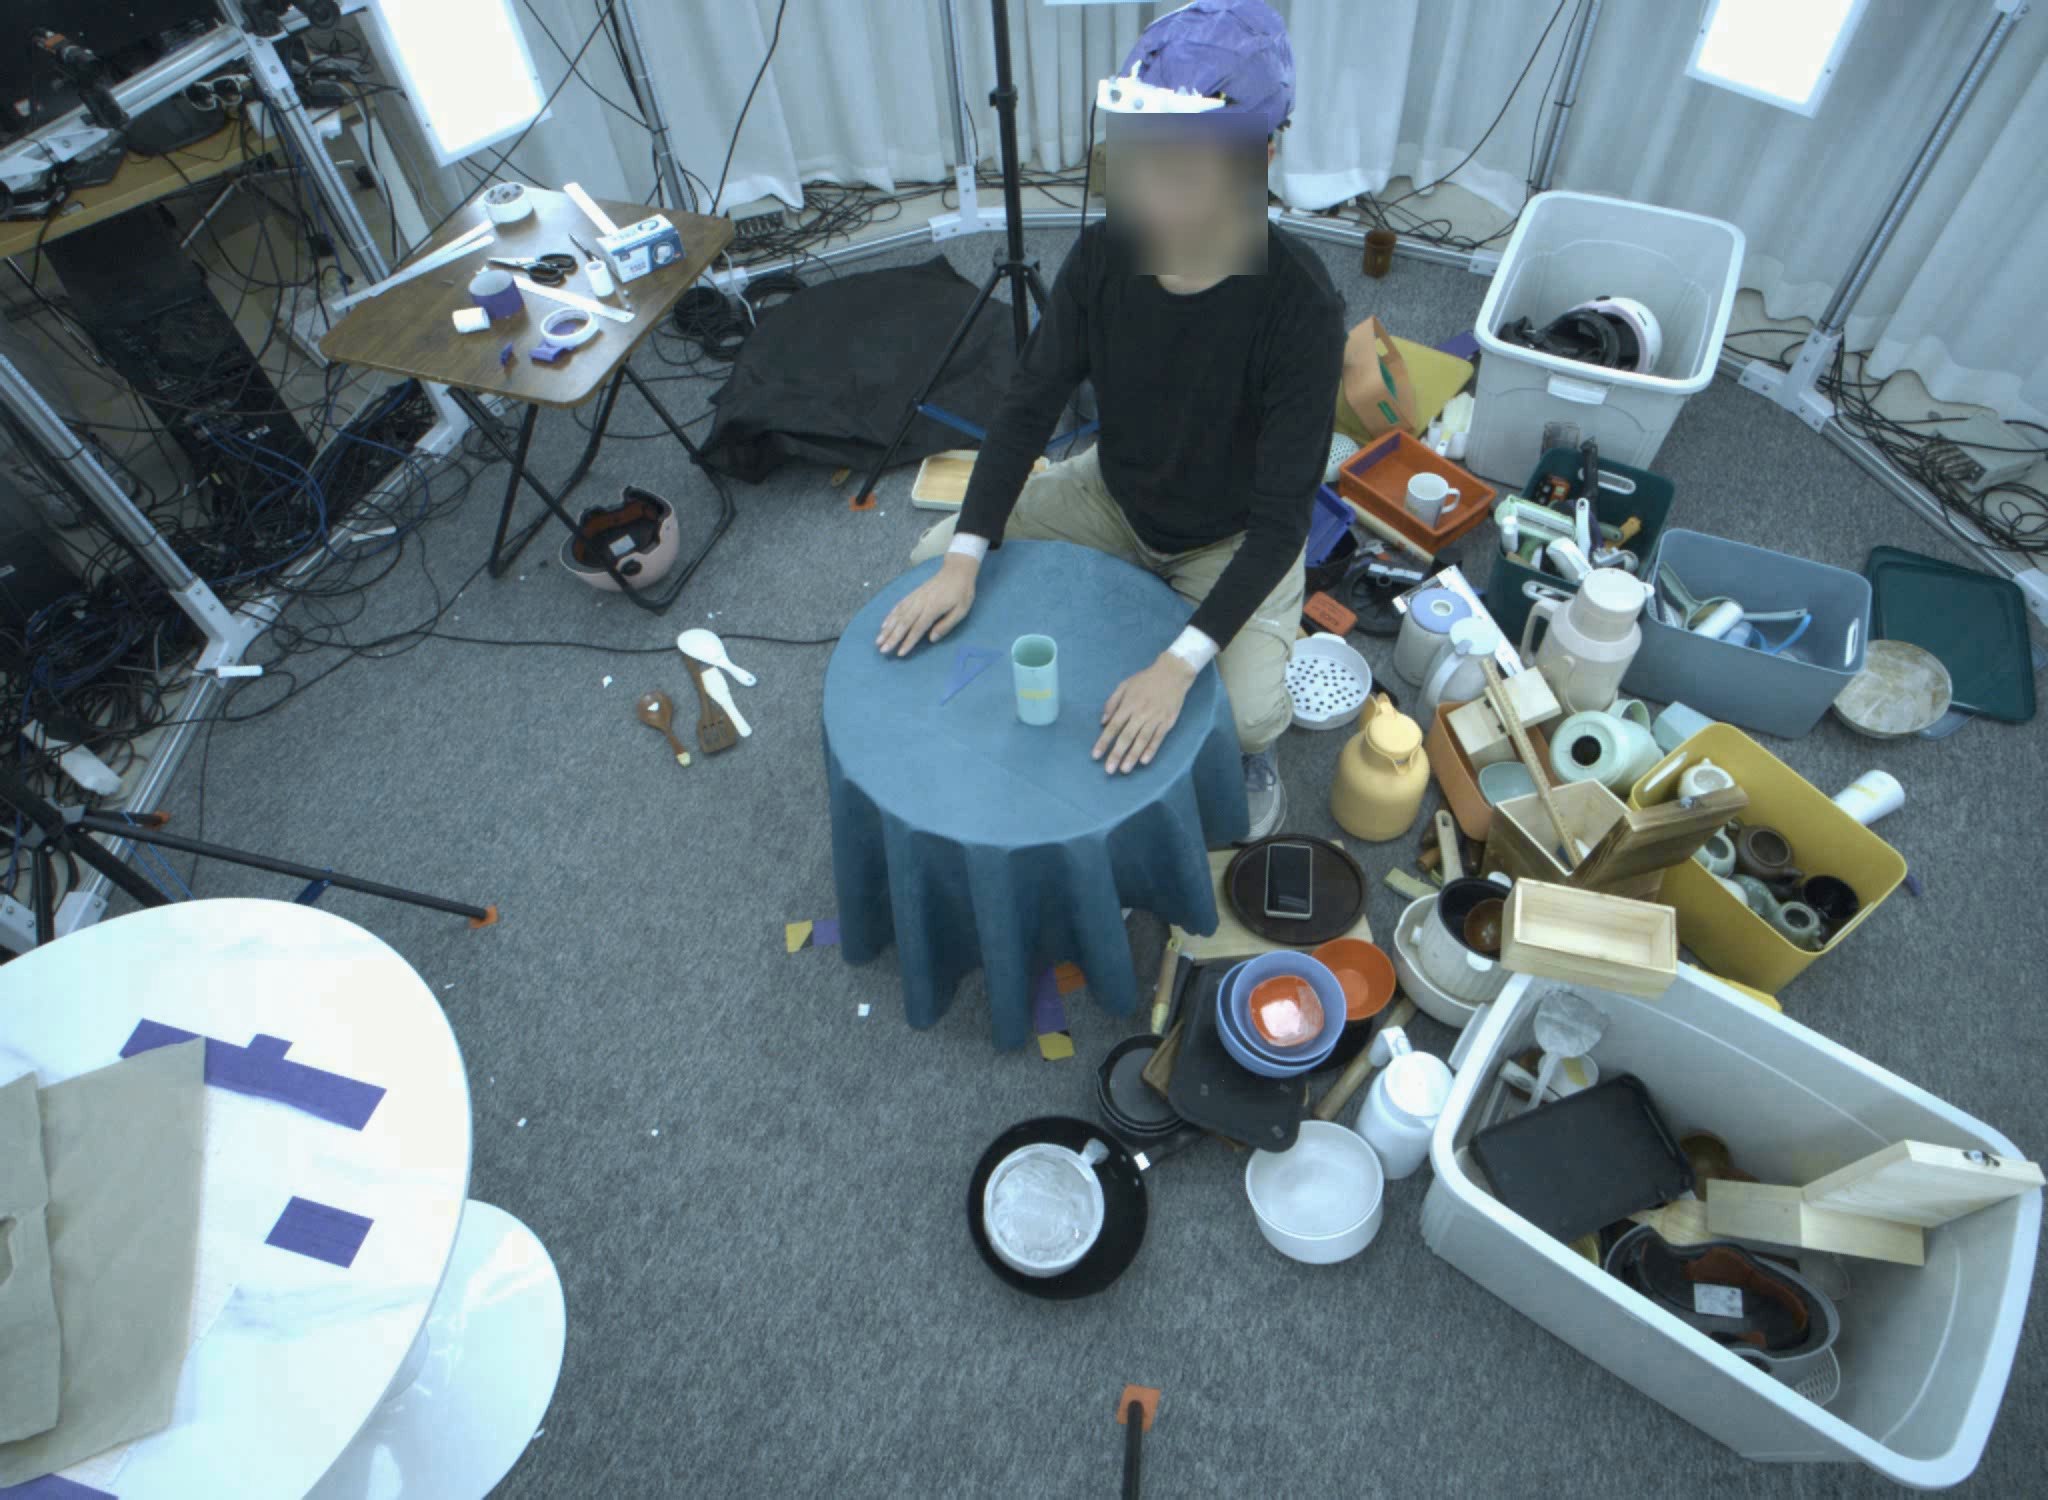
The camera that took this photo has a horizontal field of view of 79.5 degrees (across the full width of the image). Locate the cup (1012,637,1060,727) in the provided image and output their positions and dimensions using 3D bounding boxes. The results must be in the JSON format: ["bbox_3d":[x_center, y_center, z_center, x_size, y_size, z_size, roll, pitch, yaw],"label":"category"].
[{"bbox_3d":[0.019,-0.098,1.781,0.066,0.134,0.066,-1,55,3],"label":"cup"}]

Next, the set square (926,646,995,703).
[{"bbox_3d":[-0.111,-0.124,1.876,0.133,0.006,0.060,-38,64,-22],"label":"set square"}]
